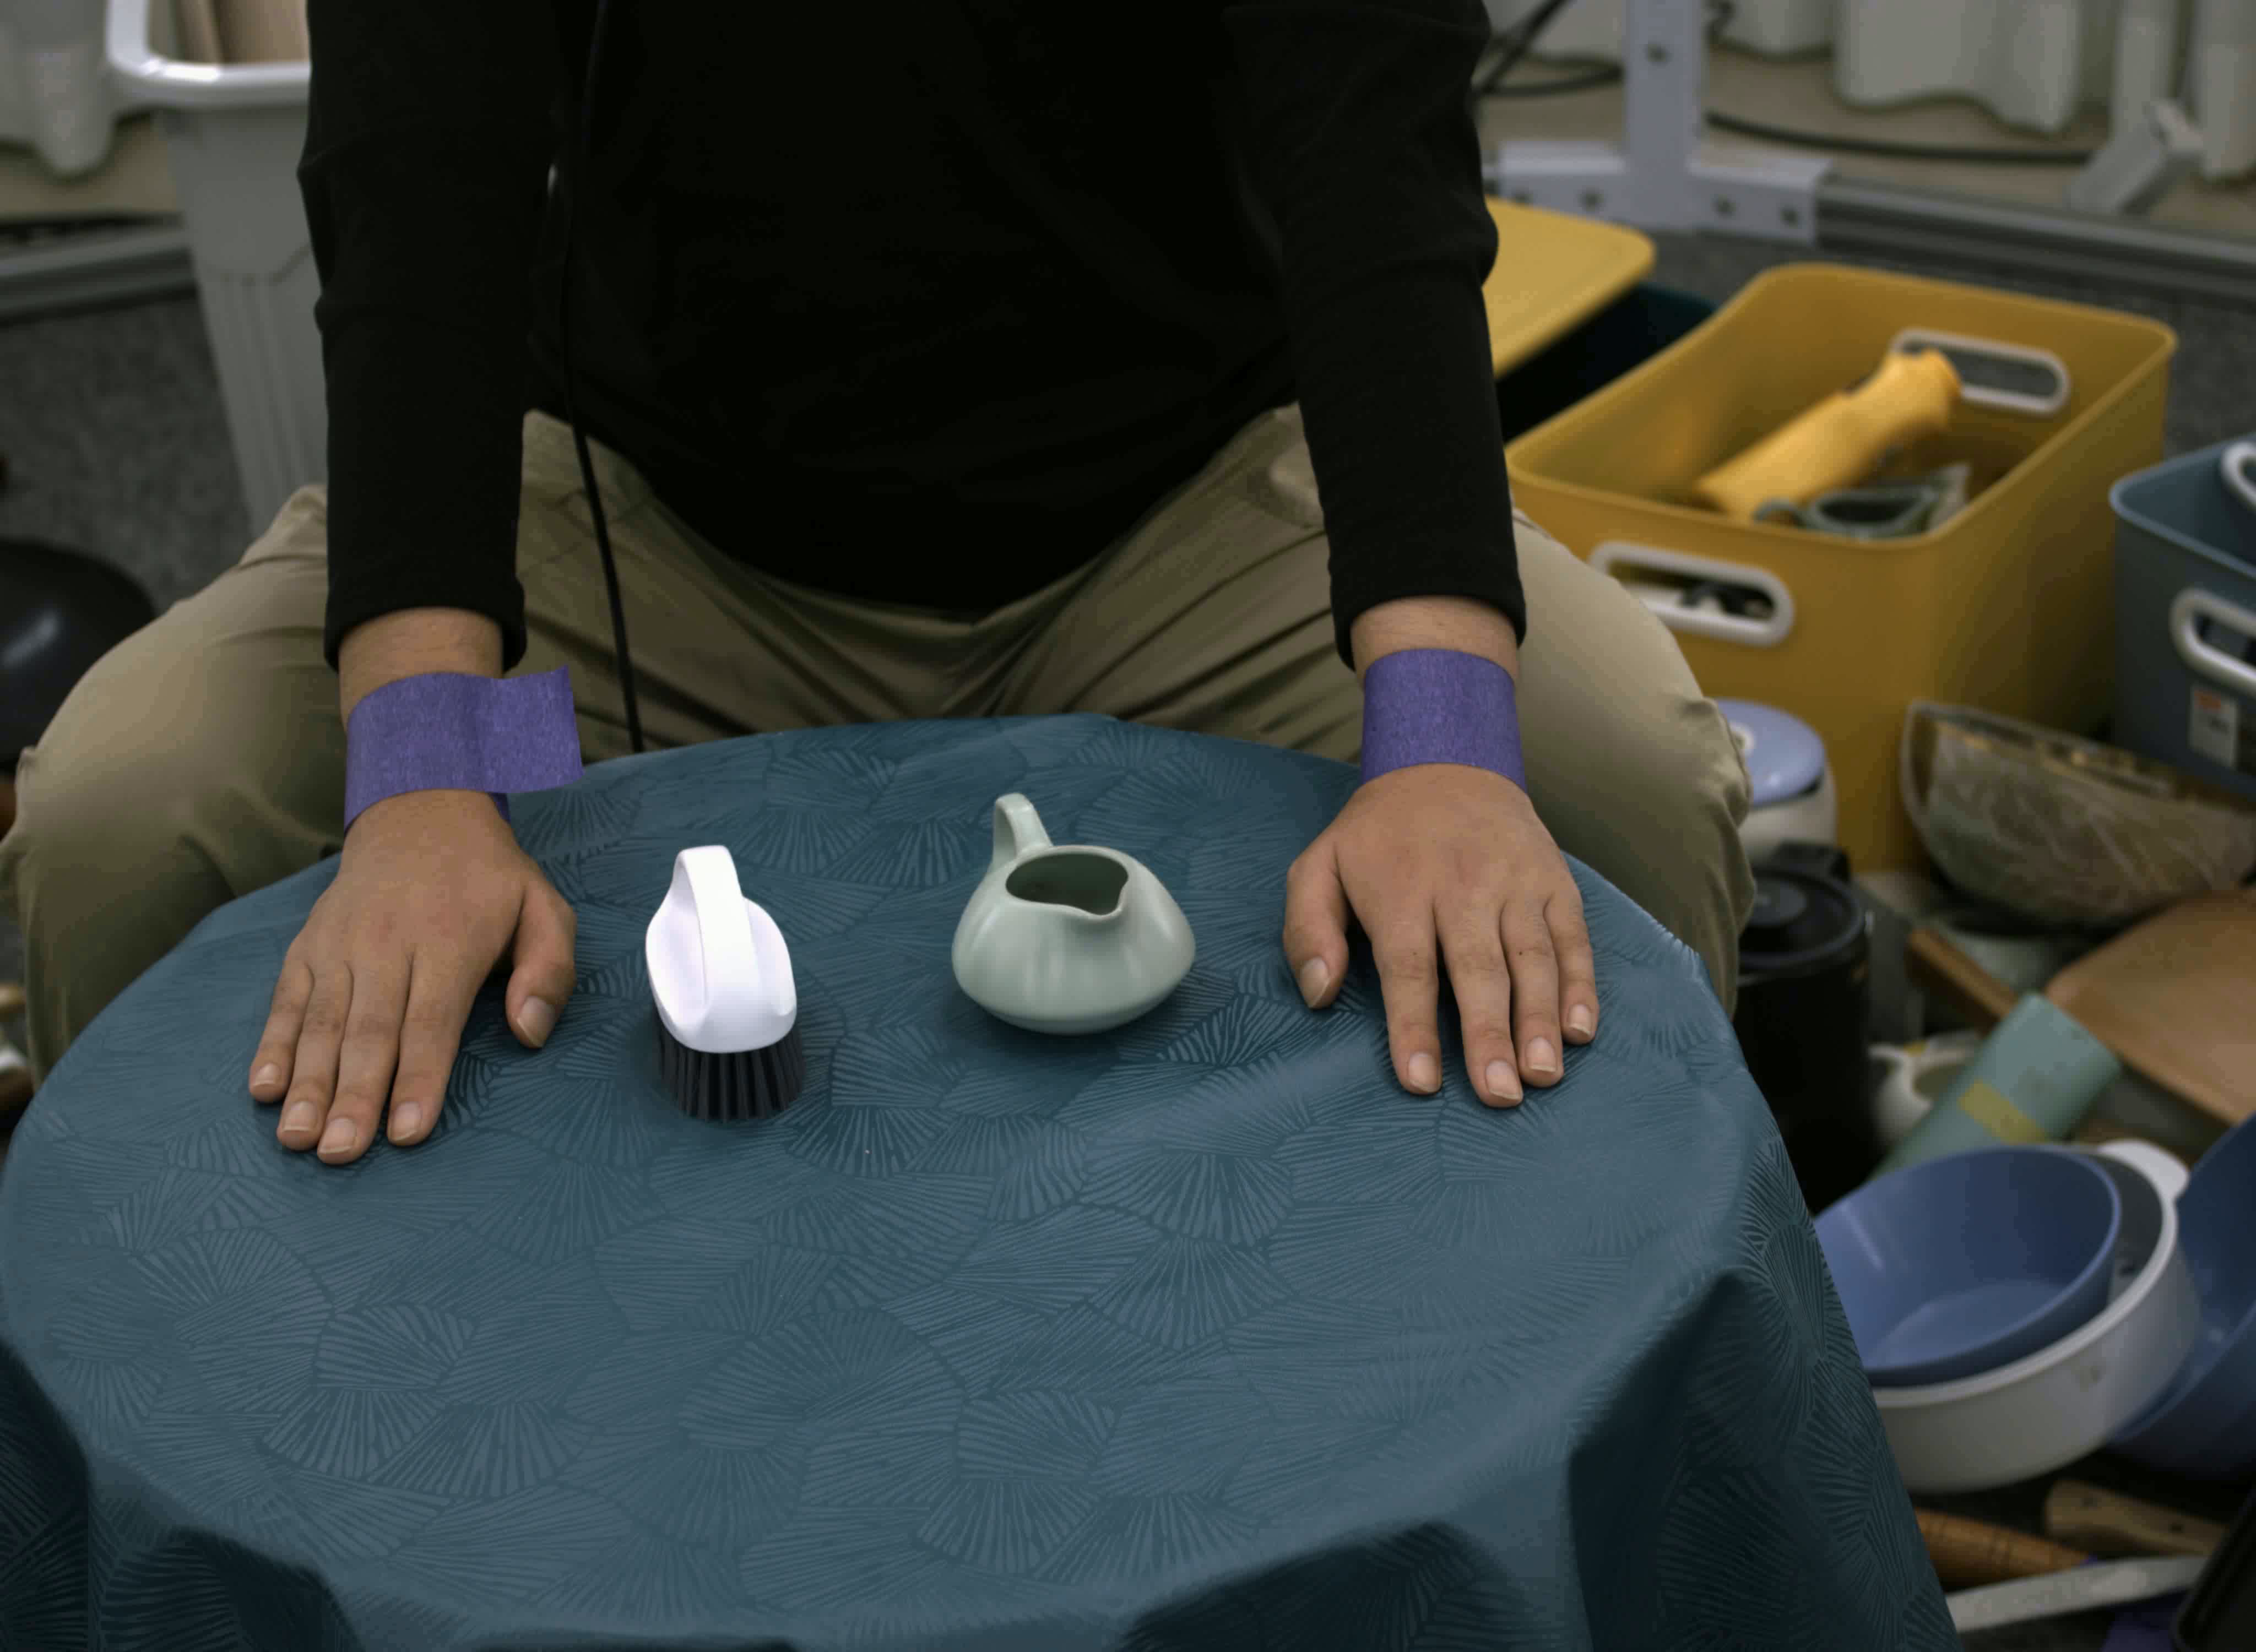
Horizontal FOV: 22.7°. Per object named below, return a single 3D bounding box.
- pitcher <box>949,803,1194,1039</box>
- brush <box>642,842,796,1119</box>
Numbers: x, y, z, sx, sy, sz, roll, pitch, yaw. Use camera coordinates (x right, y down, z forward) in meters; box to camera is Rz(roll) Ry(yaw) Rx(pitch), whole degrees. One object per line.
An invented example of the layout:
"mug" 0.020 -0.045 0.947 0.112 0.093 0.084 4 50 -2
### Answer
"pitcher" -0.025 0.034 1.974 0.086 0.060 0.108 -13 26 -20
"brush" -0.143 0.047 1.940 0.050 0.072 0.100 -5 28 -8
